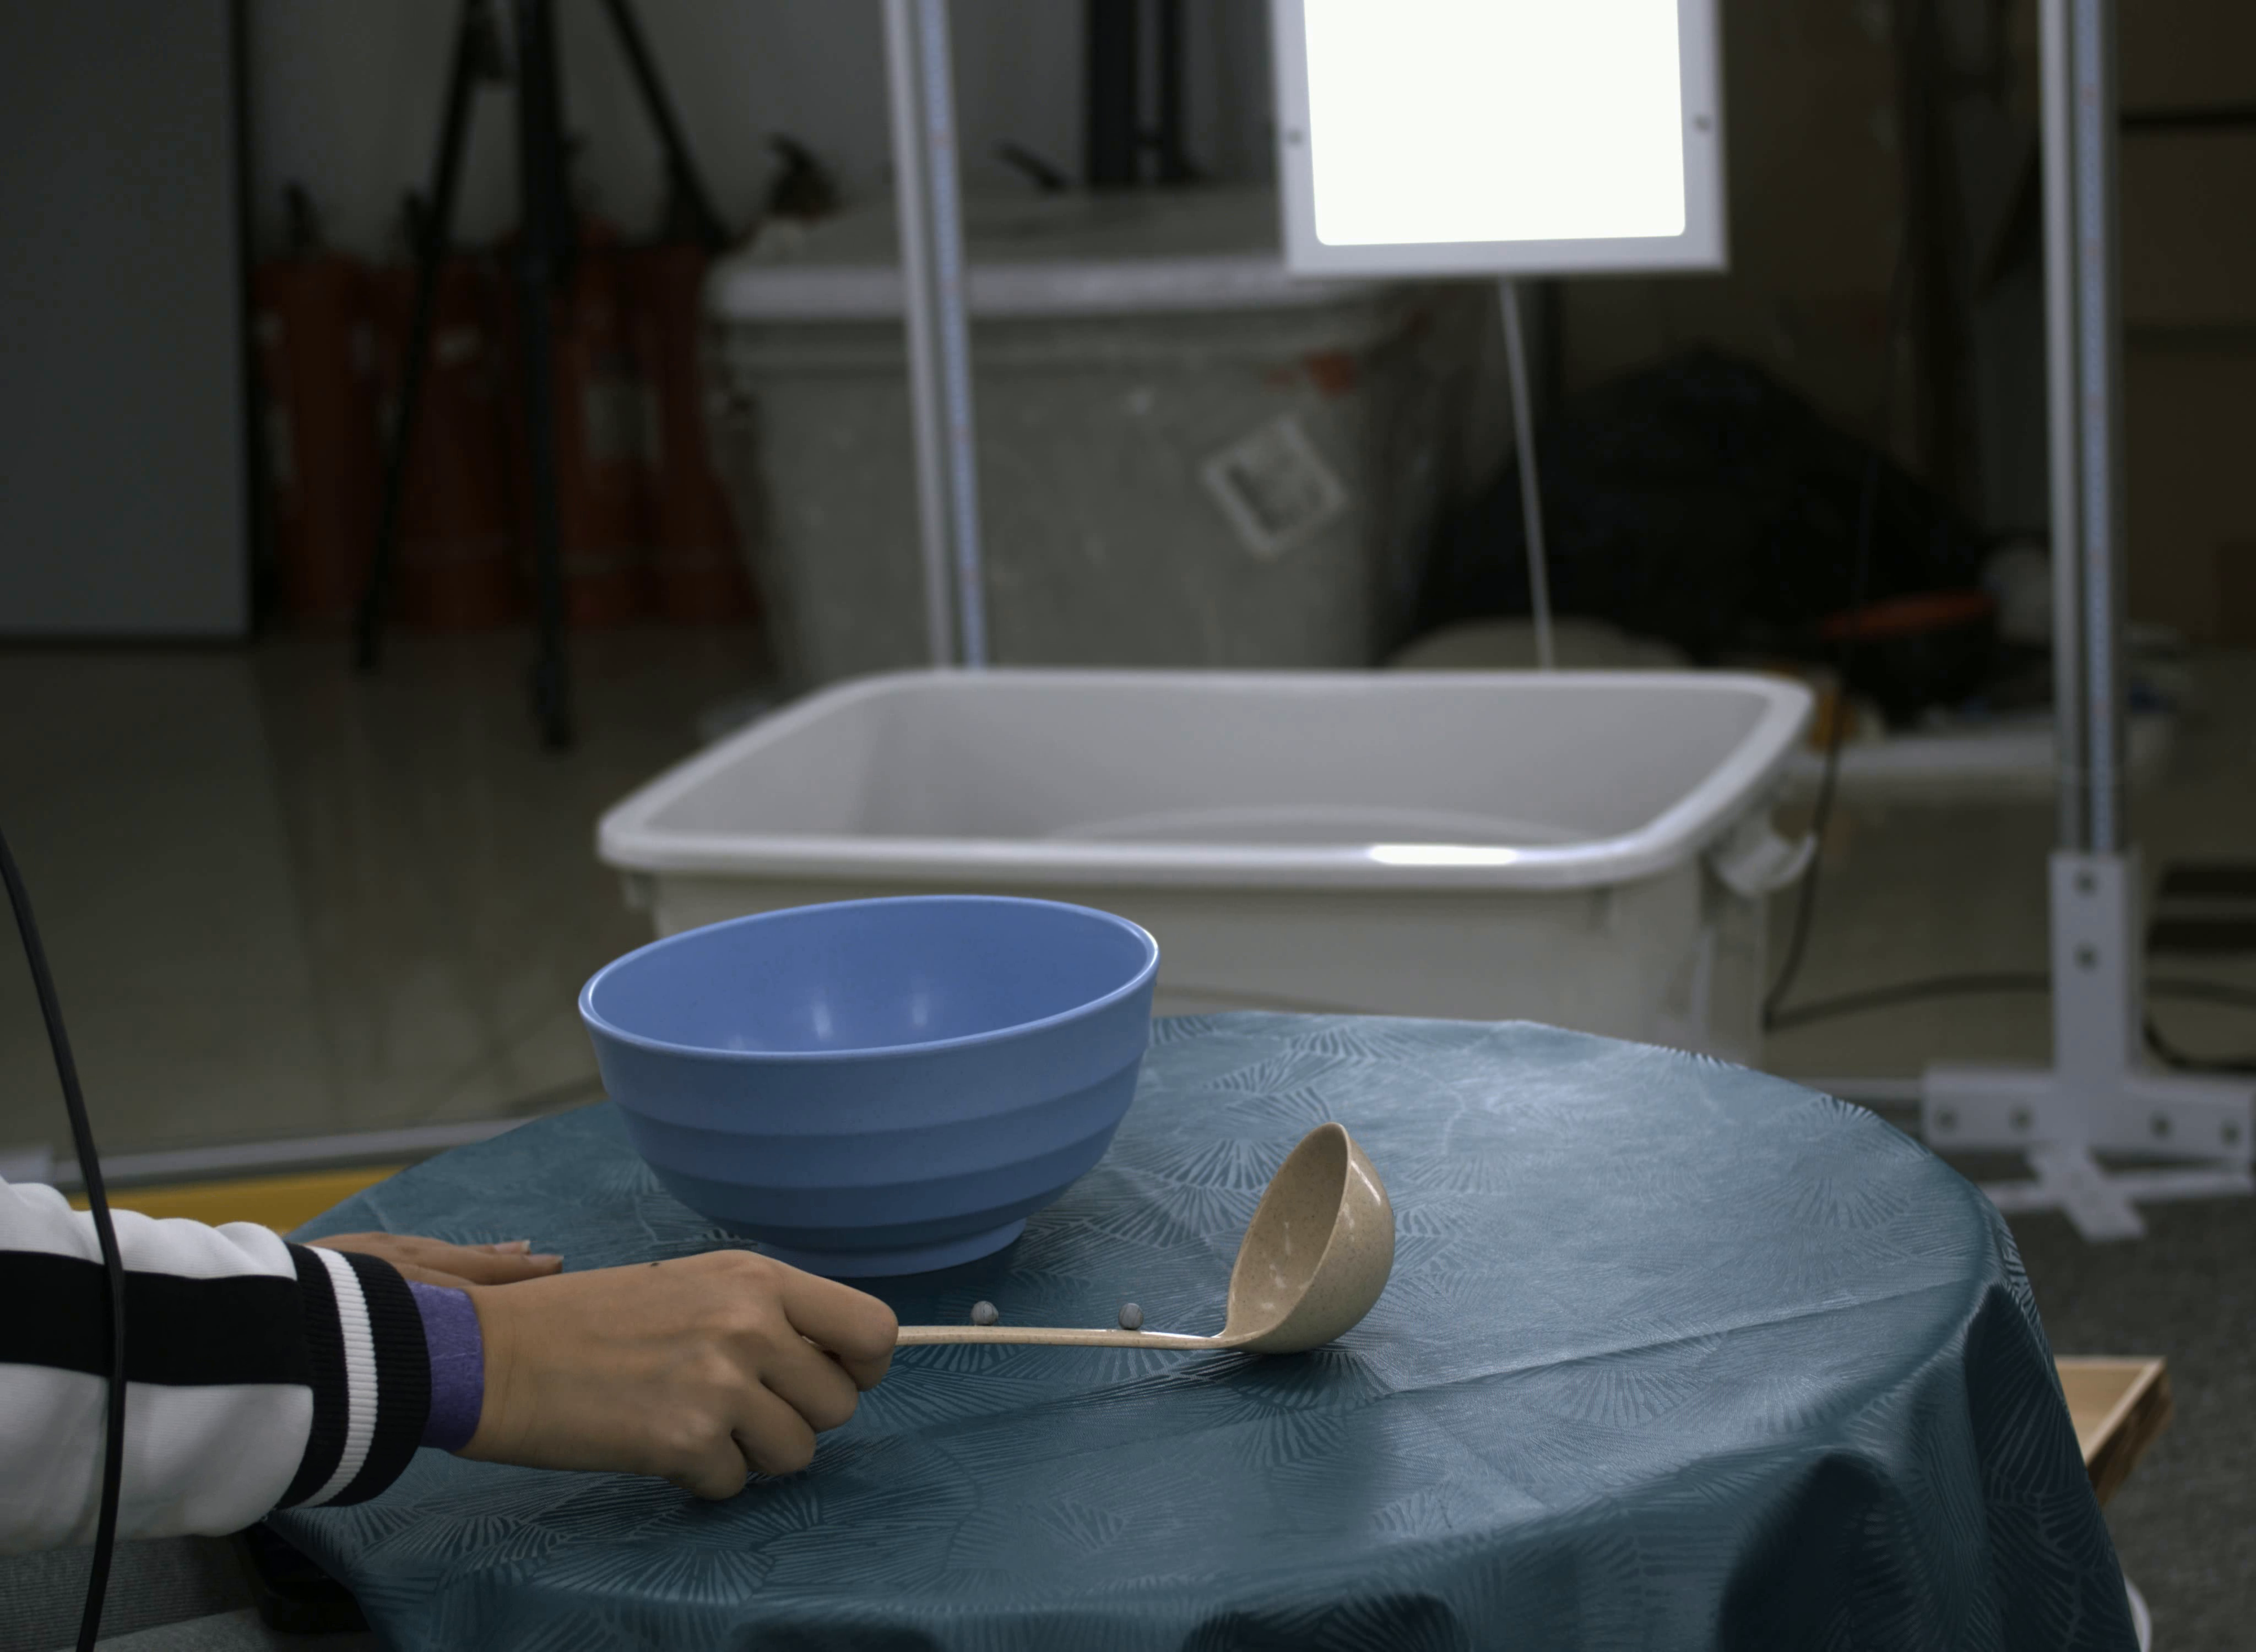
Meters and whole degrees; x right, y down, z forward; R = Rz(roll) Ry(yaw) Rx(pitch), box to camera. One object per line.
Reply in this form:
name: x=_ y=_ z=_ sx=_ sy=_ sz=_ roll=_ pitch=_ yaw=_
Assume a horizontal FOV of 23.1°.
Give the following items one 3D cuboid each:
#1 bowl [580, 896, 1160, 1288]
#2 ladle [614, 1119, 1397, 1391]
bowl: x=-0.084 y=0.096 z=1.865 sx=0.196 sy=0.096 sz=0.196 roll=-5 pitch=15 yaw=0
ladle: x=-0.038 y=0.130 z=1.685 sx=0.249 sy=0.073 sz=0.073 roll=-1 pitch=-5 yaw=-22
